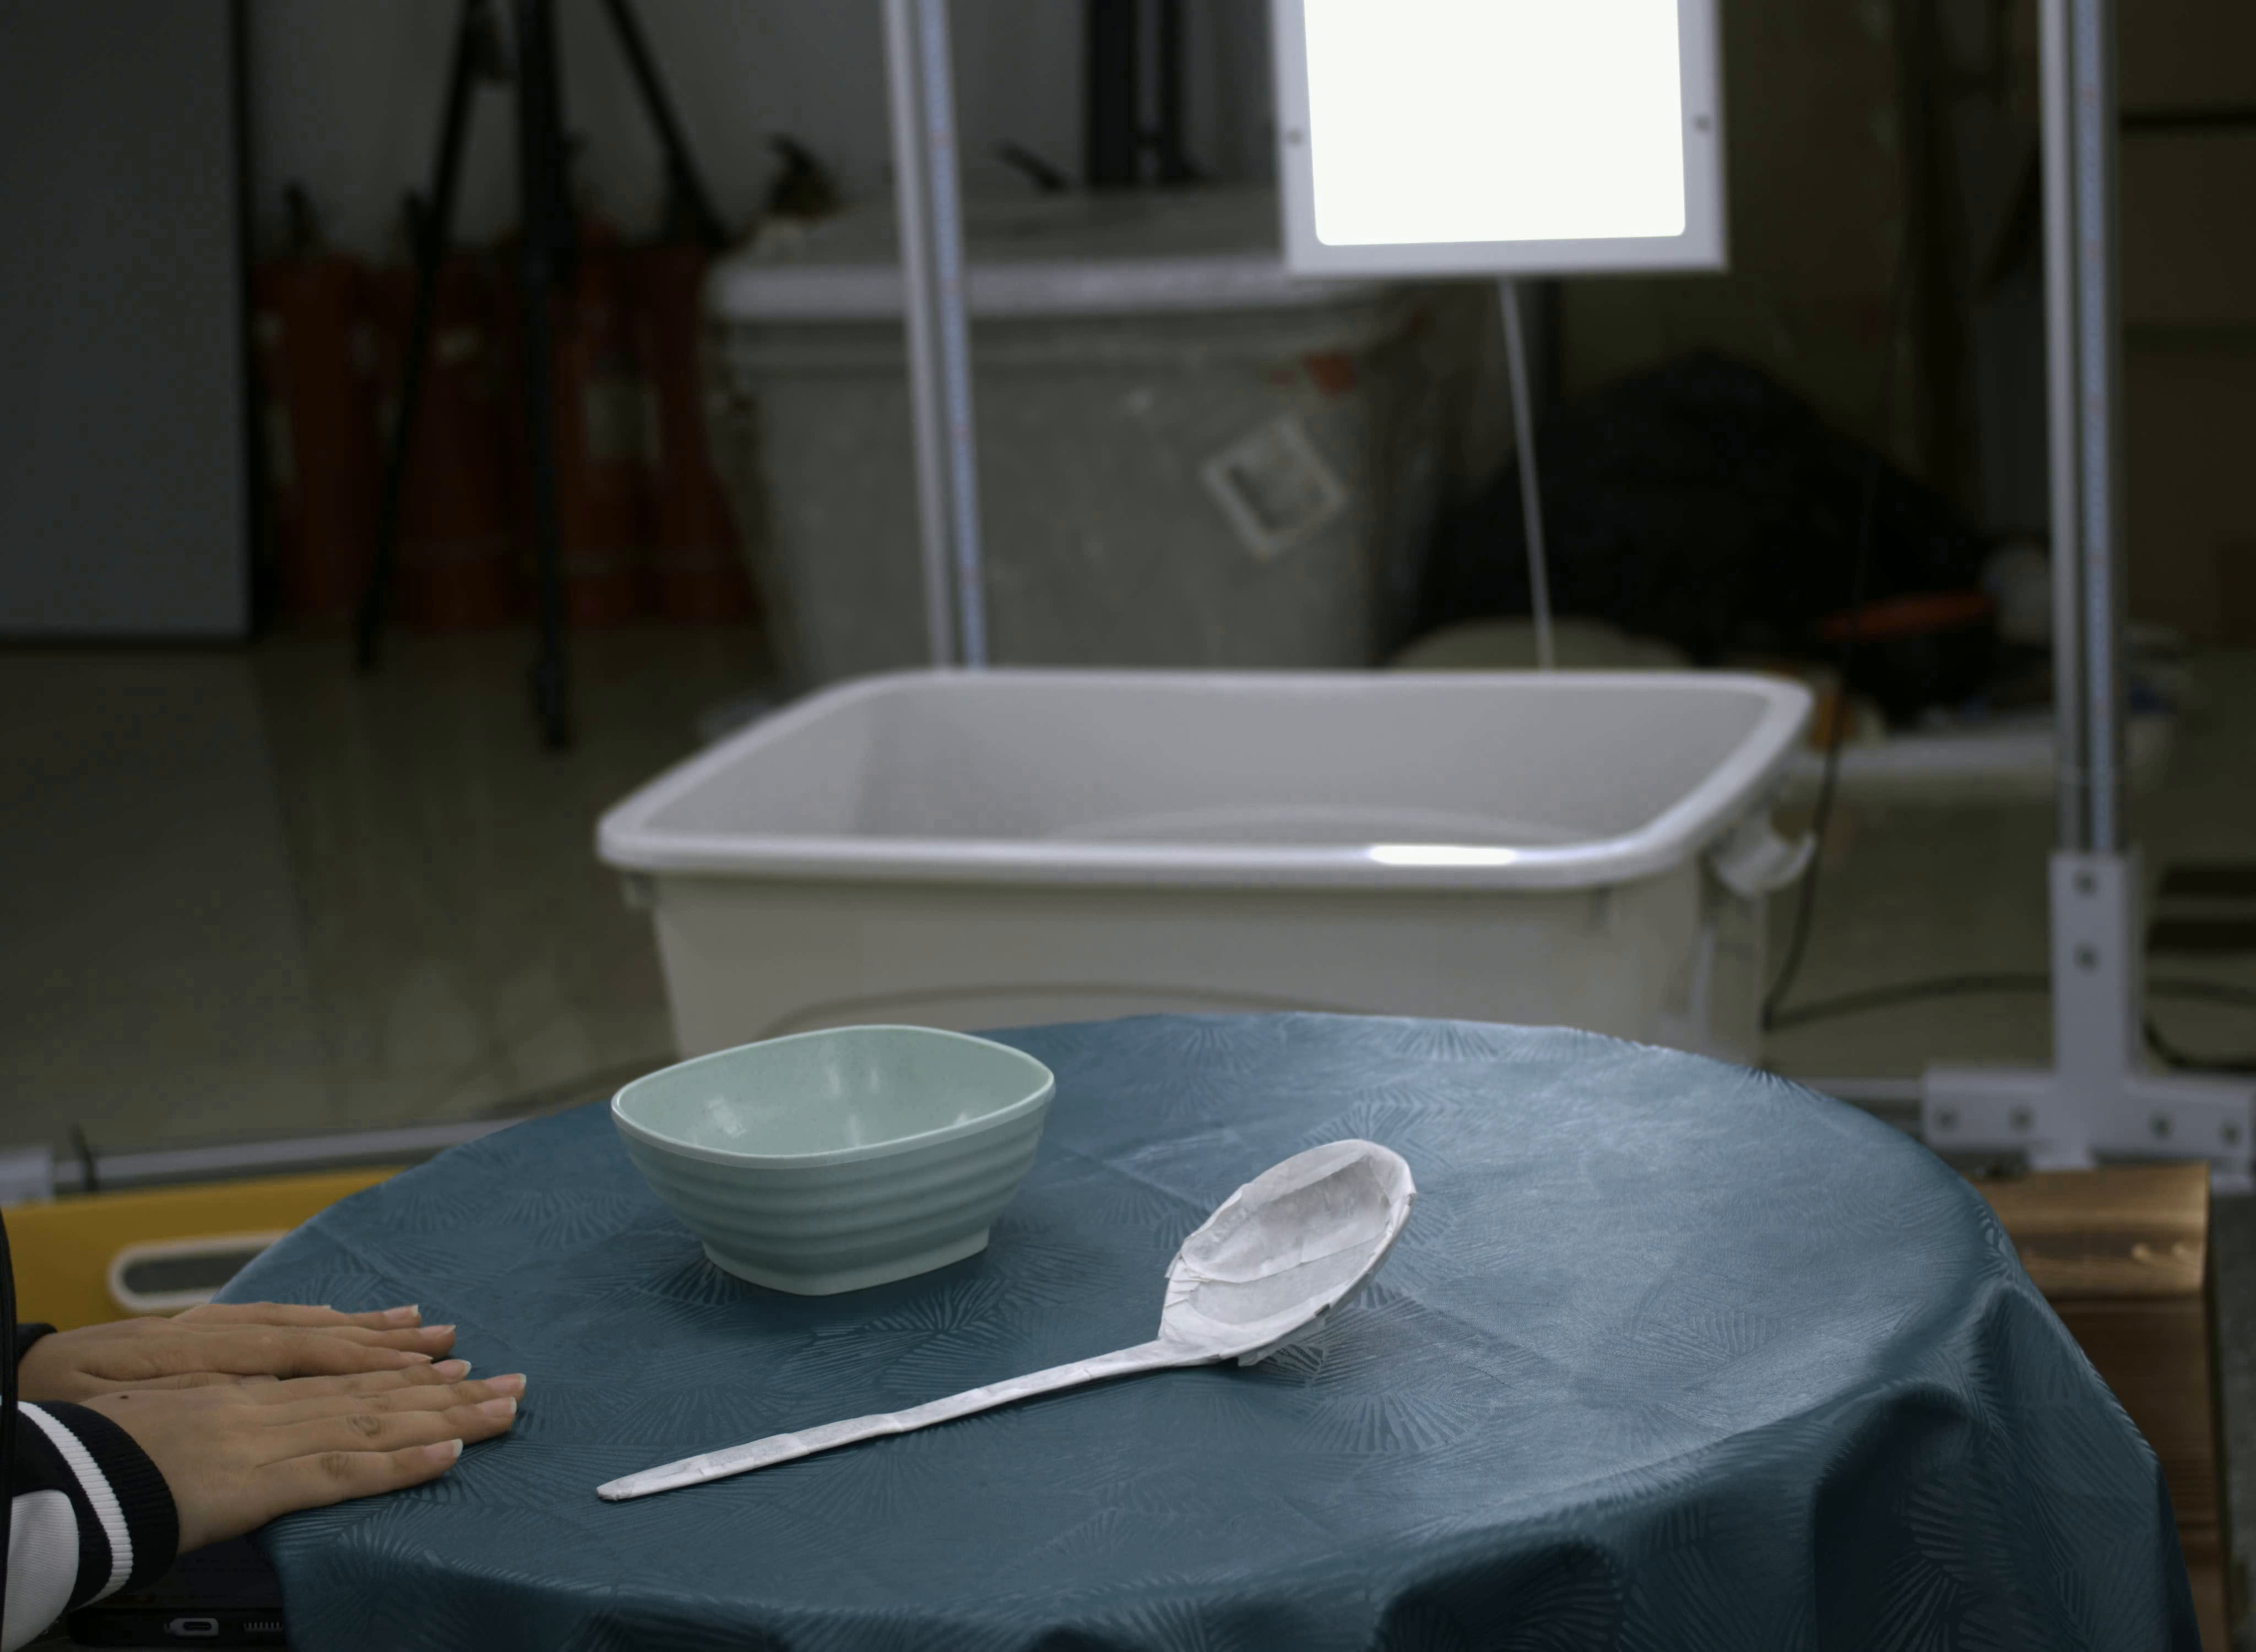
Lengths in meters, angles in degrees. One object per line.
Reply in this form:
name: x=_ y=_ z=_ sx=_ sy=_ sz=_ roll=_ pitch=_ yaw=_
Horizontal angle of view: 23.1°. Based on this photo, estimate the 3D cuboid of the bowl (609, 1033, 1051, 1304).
bowl: x=-0.098 y=0.118 z=1.858 sx=0.151 sy=0.059 sz=0.151 roll=-5 pitch=14 yaw=0

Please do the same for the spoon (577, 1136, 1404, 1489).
spoon: x=-0.043 y=0.148 z=1.704 sx=0.272 sy=0.059 sz=0.102 roll=-10 pitch=10 yaw=-20
